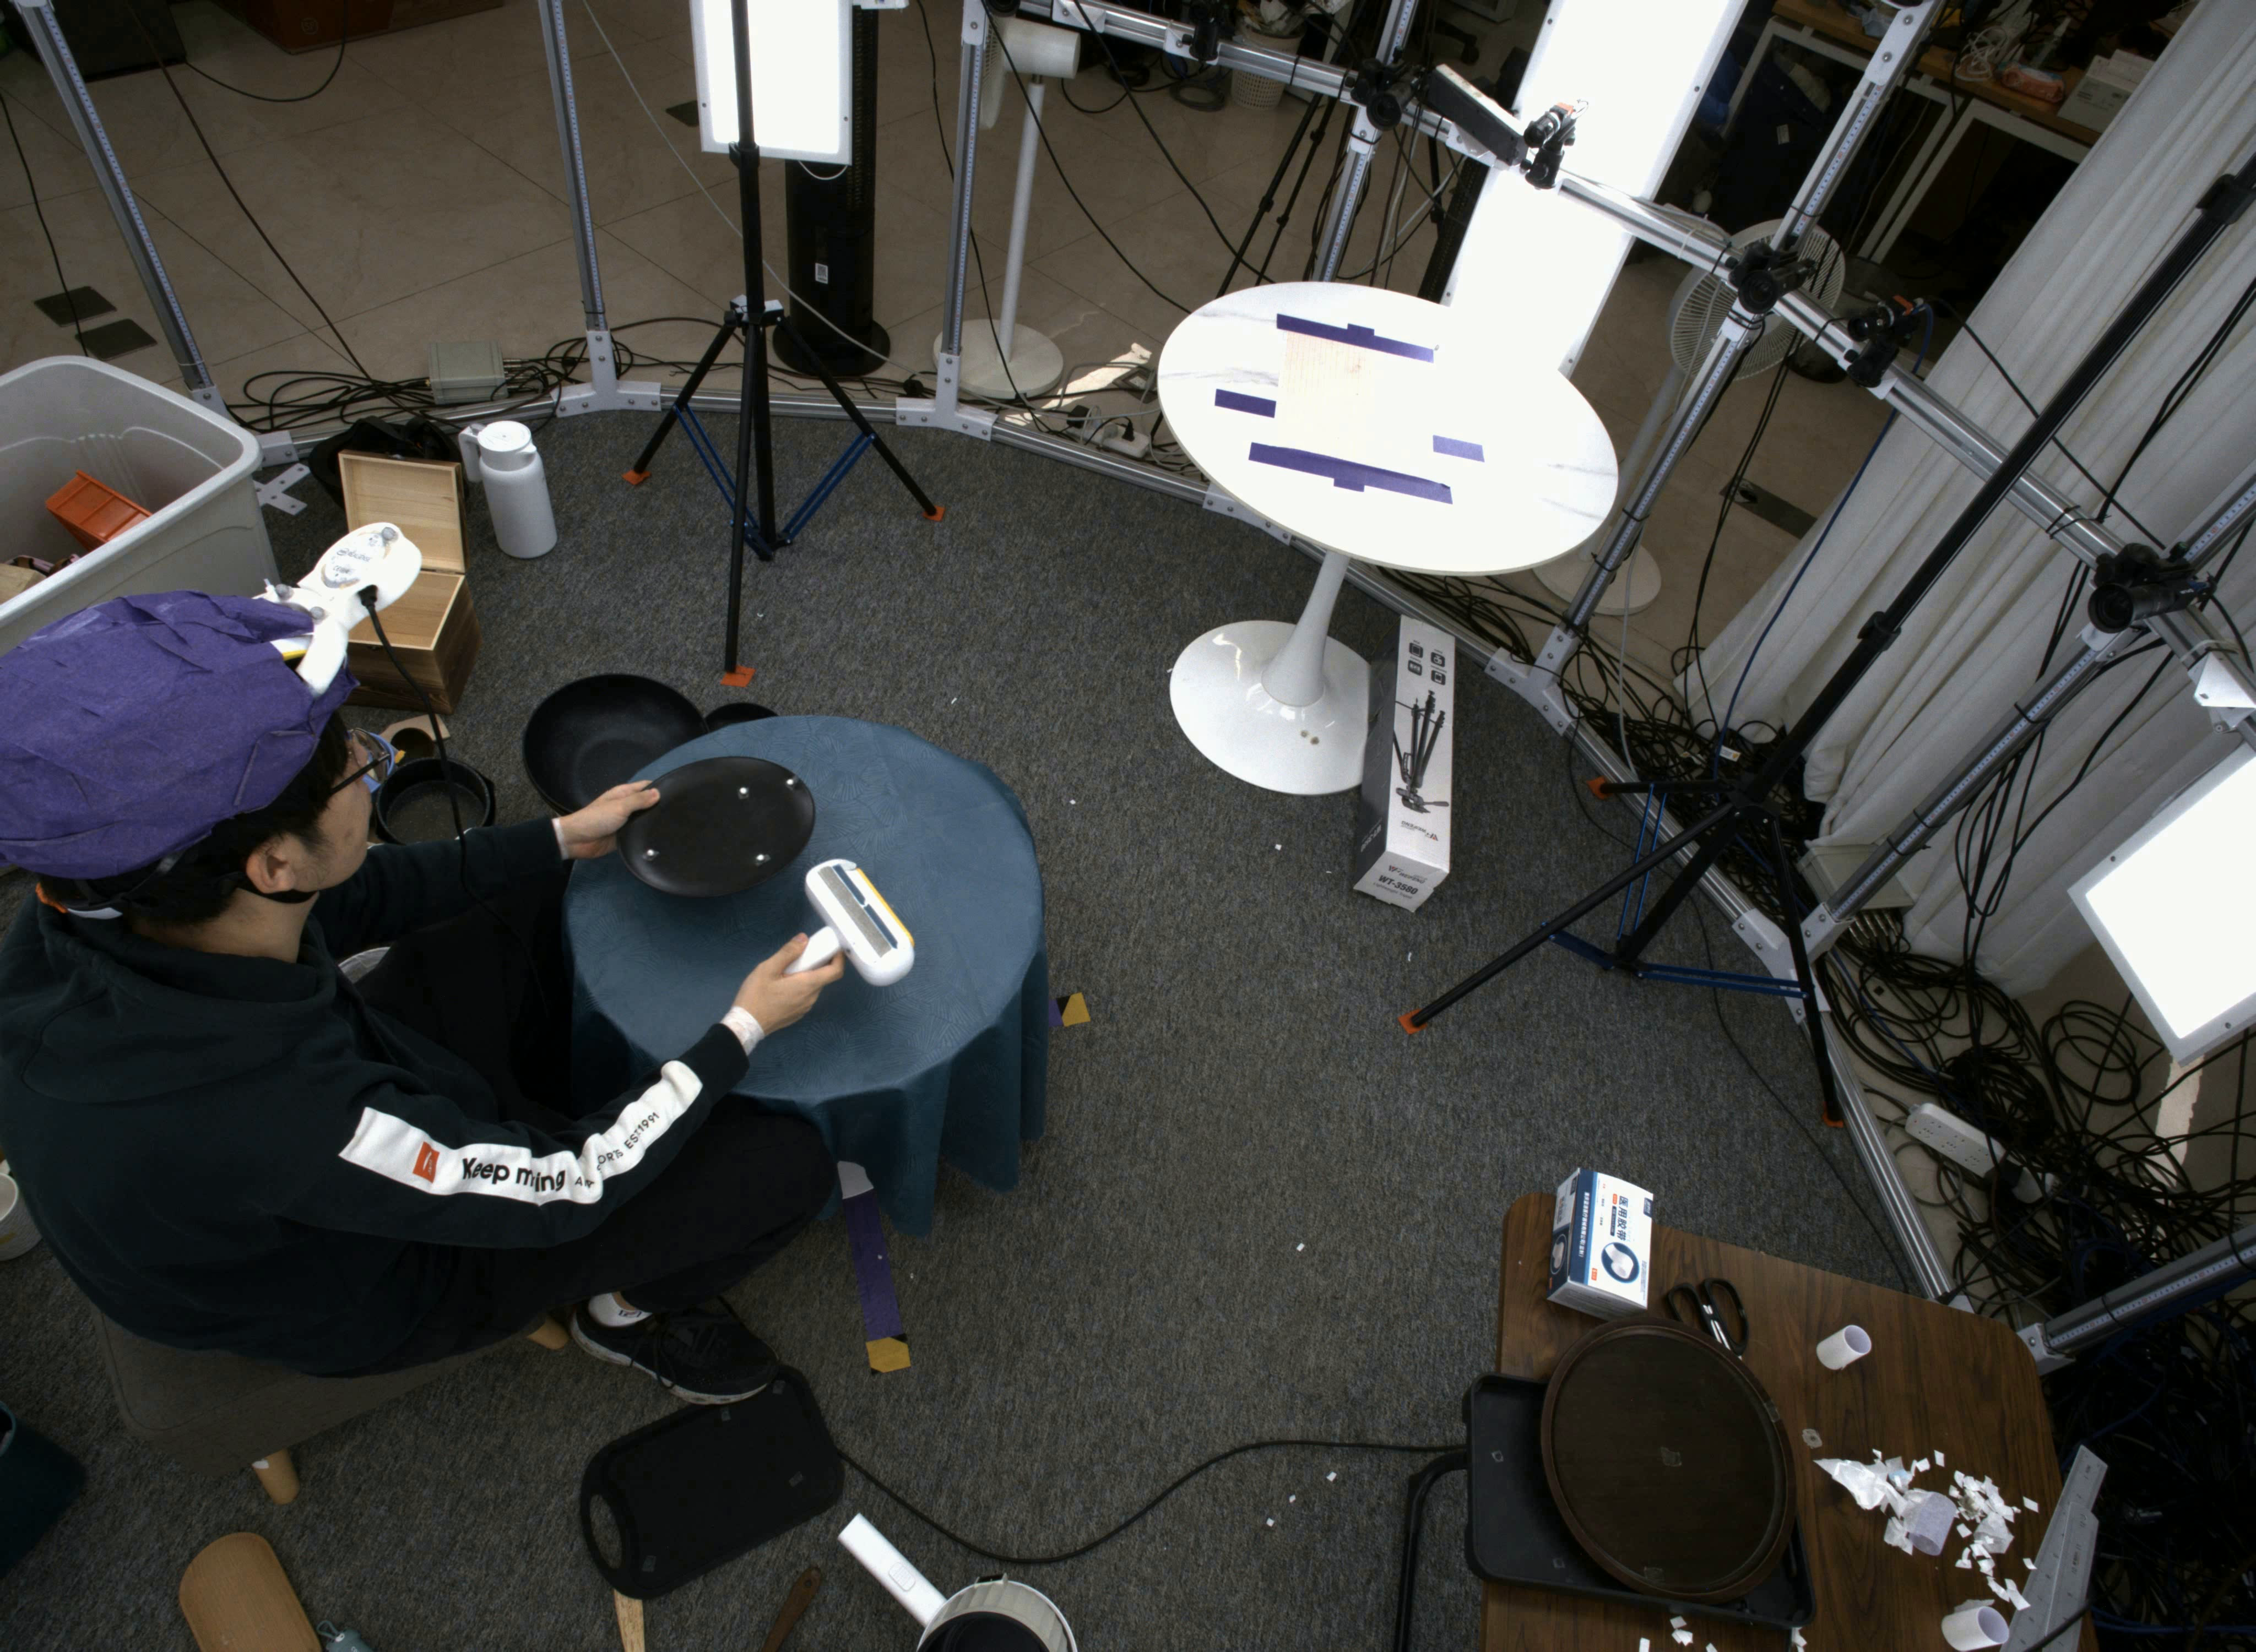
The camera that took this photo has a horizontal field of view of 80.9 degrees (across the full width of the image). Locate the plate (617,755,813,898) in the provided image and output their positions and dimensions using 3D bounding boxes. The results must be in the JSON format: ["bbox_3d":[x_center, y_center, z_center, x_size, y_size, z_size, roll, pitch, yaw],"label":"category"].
[{"bbox_3d":[-0.512,0.002,1.603,0.242,0.024,0.239,3,47,-2],"label":"plate"}]

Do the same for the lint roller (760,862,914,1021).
[{"bbox_3d":[-0.361,0.154,1.533,0.192,0.077,0.187,-34,58,-5],"label":"lint roller"}]
